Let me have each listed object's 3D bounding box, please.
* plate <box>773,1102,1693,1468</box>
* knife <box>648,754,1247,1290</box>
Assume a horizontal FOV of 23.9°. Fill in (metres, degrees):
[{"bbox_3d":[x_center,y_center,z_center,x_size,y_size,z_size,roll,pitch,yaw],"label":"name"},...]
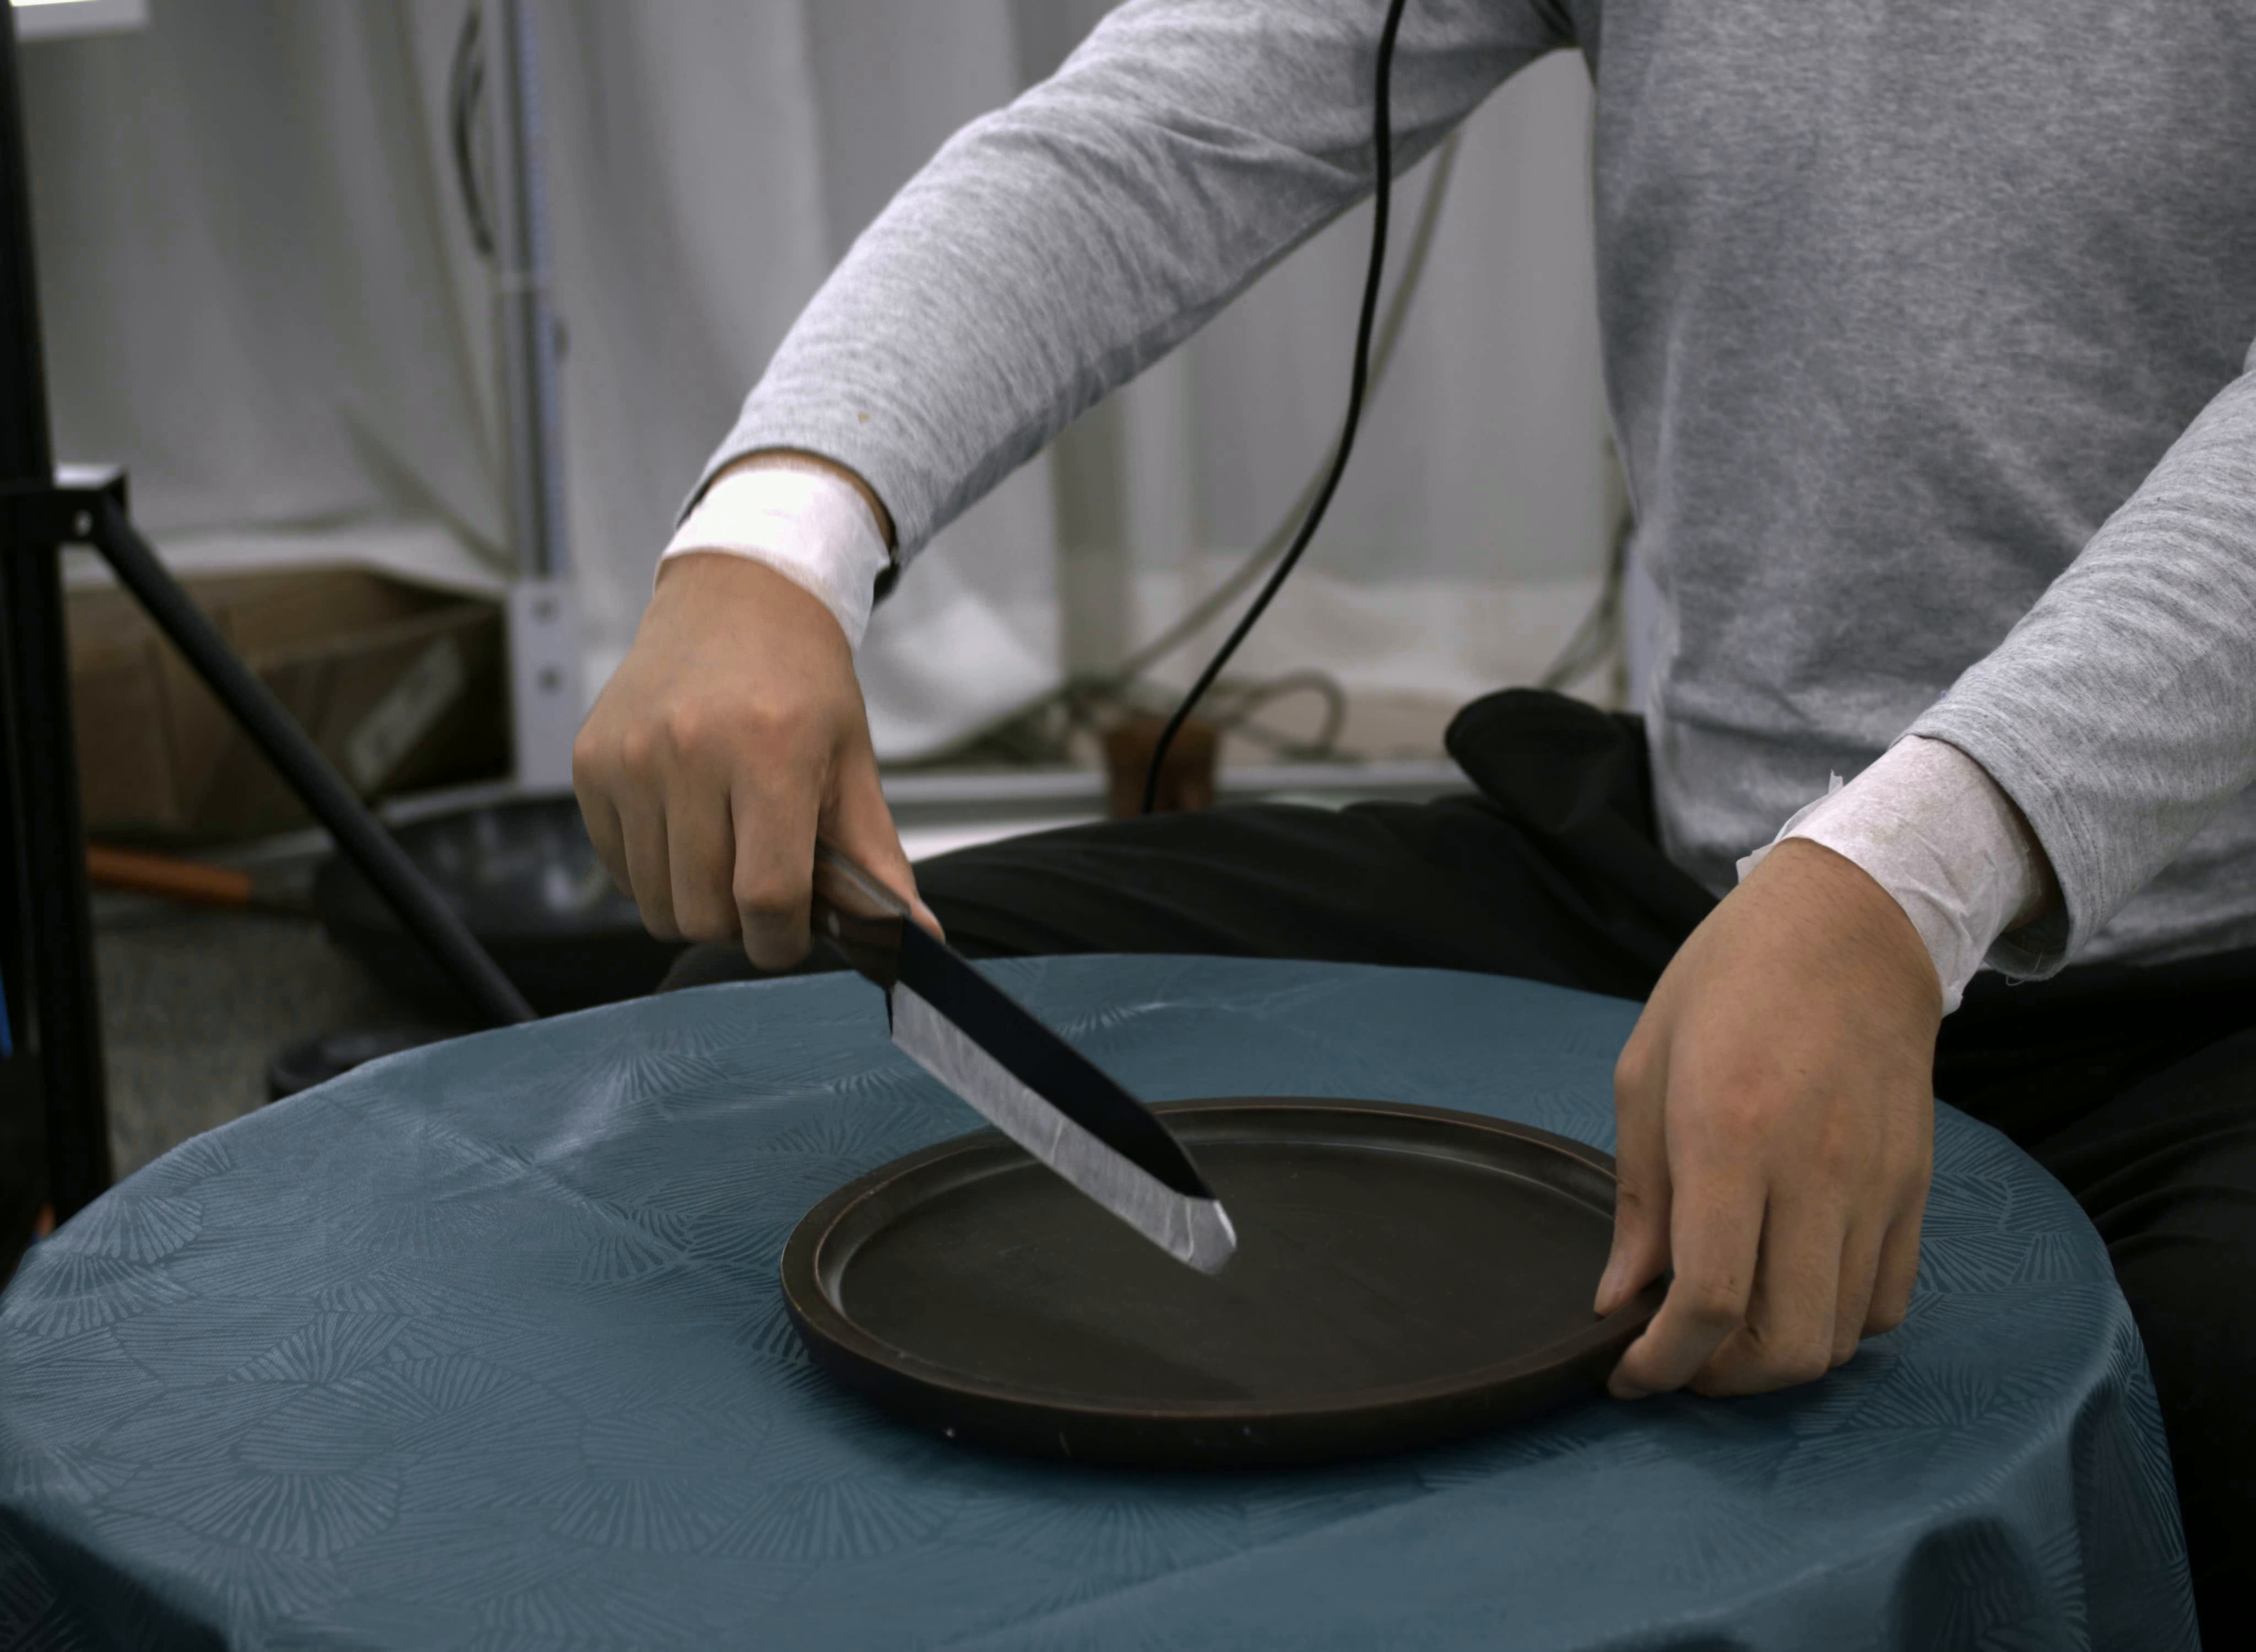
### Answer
[{"bbox_3d":[0.029,0.123,1.458,0.253,0.029,0.256,-3,14,-1],"label":"plate"},{"bbox_3d":[-0.052,0.051,1.482,0.019,0.050,0.296,-19,37,-30],"label":"knife"}]
